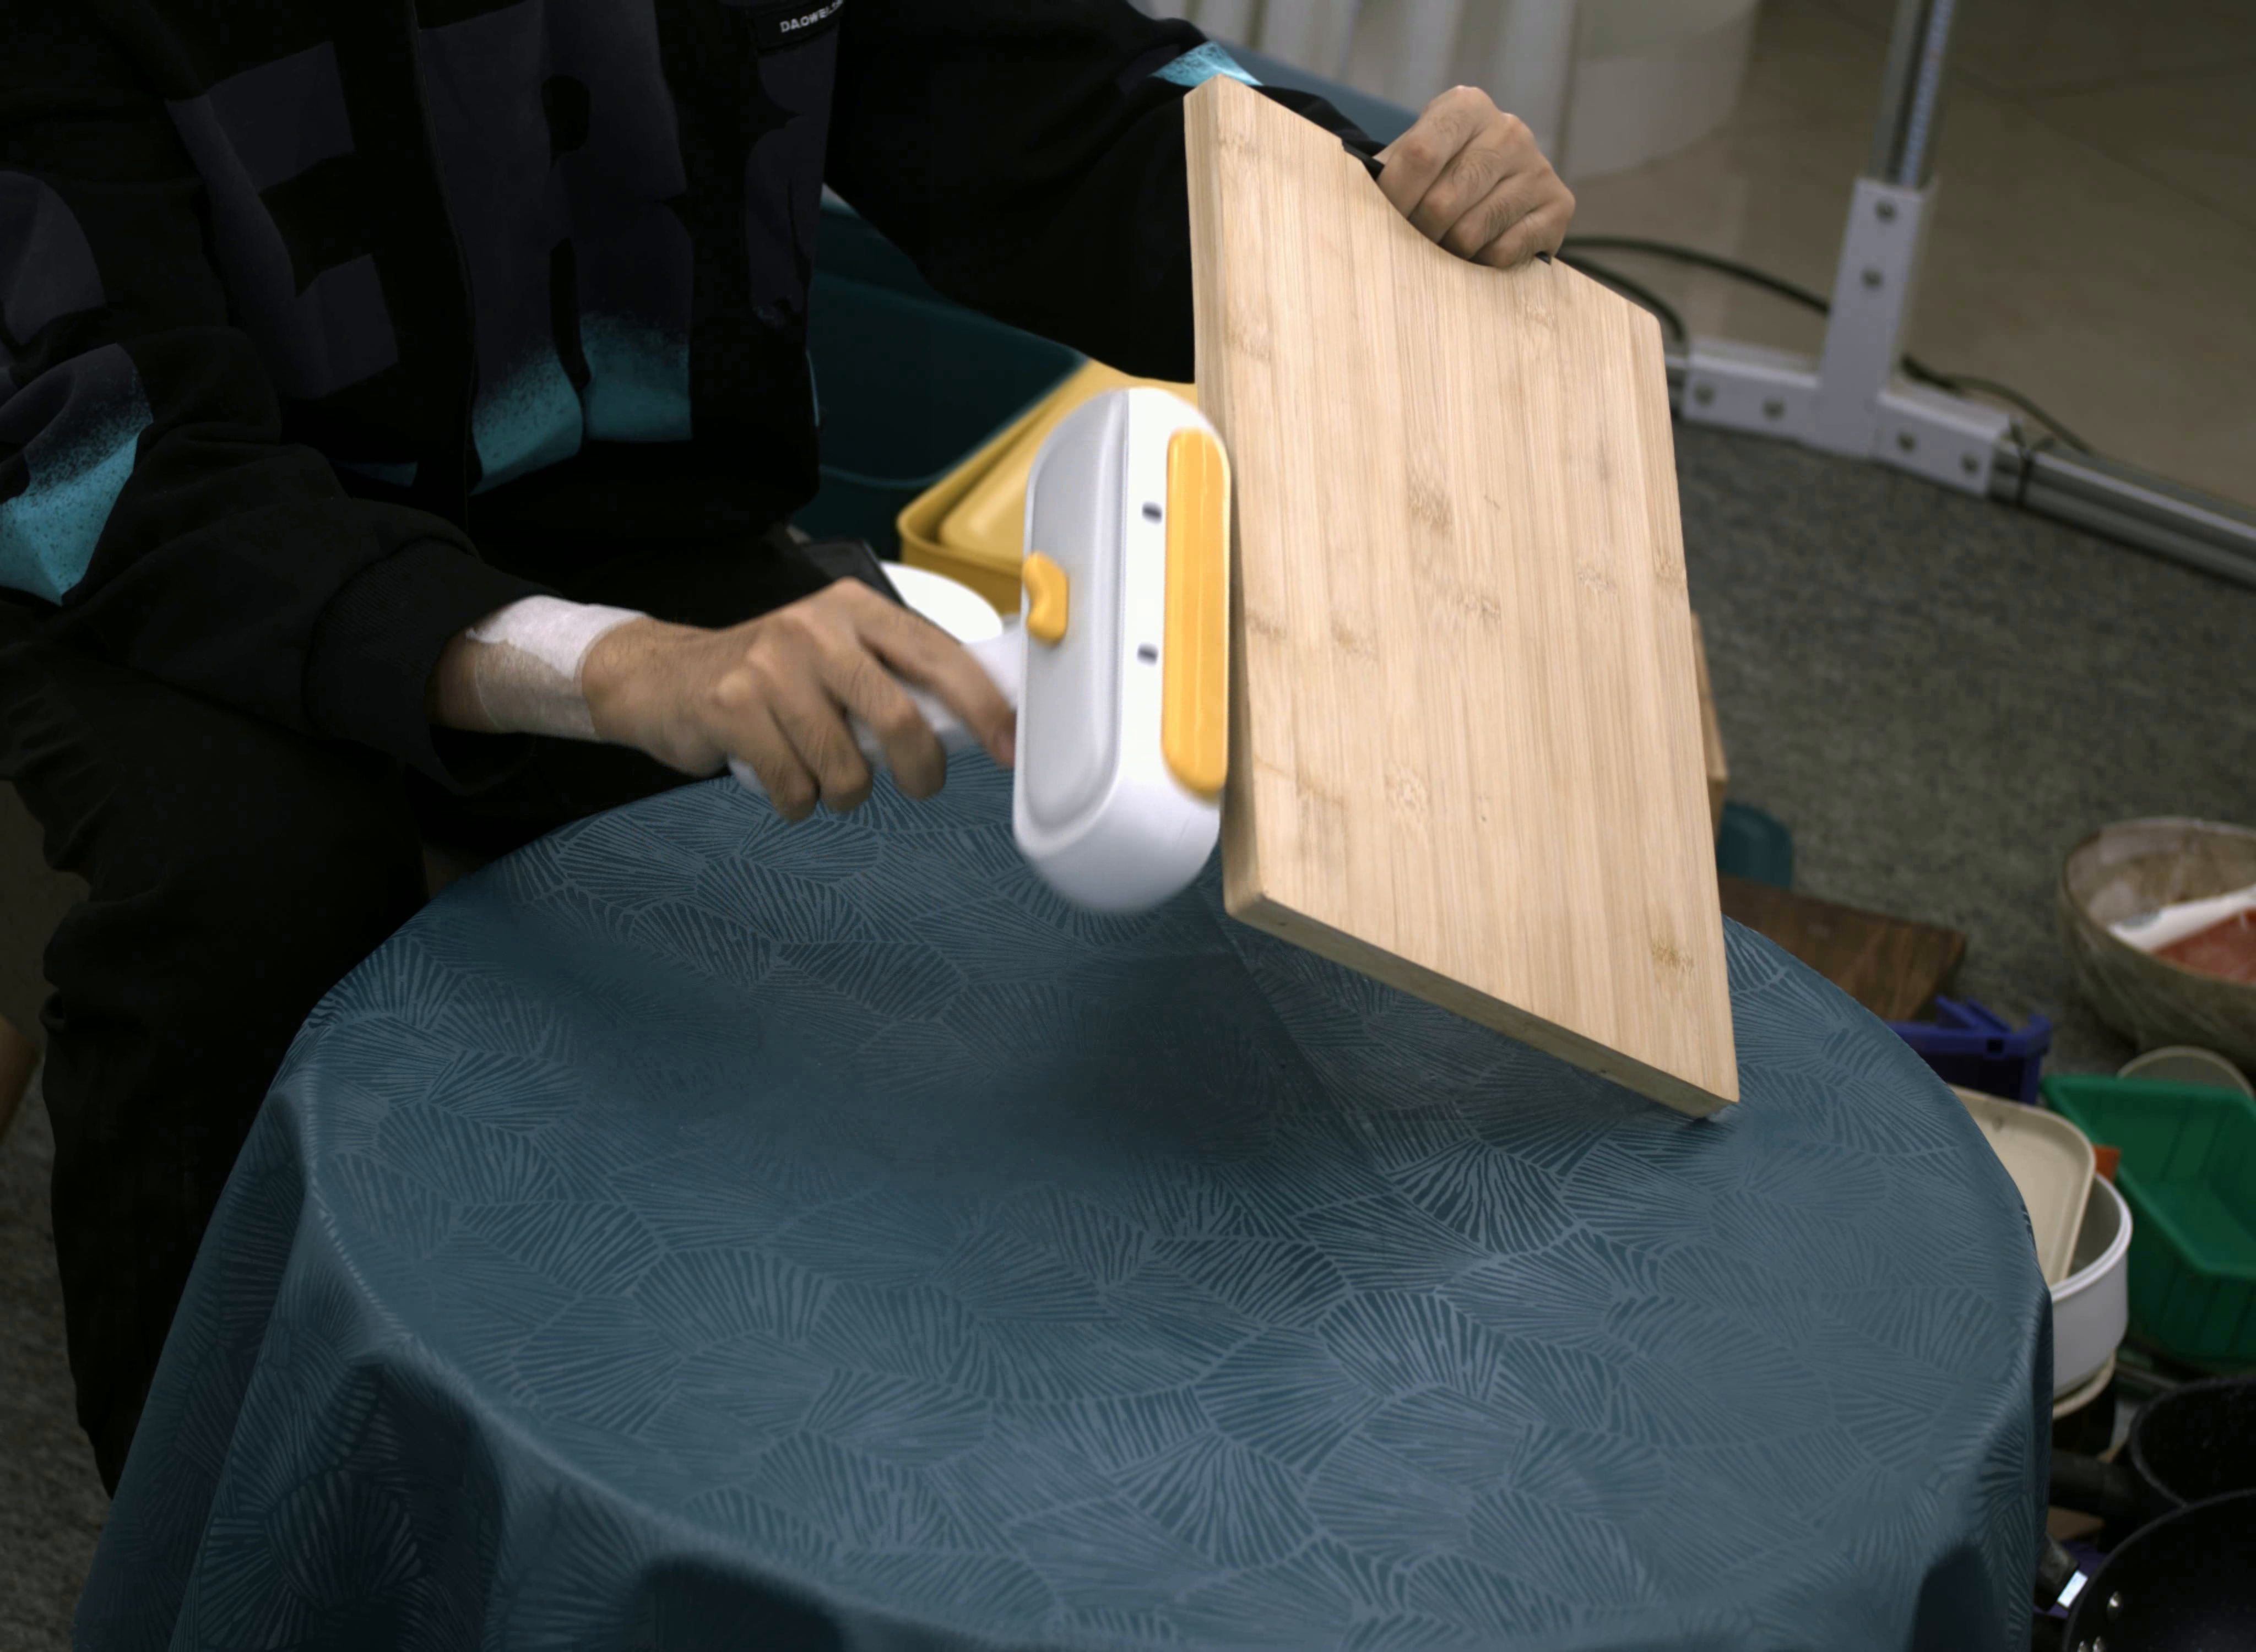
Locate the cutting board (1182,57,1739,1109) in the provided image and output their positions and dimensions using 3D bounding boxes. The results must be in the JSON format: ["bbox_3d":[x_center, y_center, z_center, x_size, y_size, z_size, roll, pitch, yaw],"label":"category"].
[{"bbox_3d":[0.117,-0.087,1.900,0.248,0.023,0.351,24,51,-37],"label":"cutting board"}]

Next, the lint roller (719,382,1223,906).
[{"bbox_3d":[-0.053,-0.044,1.813,0.073,0.192,0.194,29,46,-42],"label":"lint roller"}]
